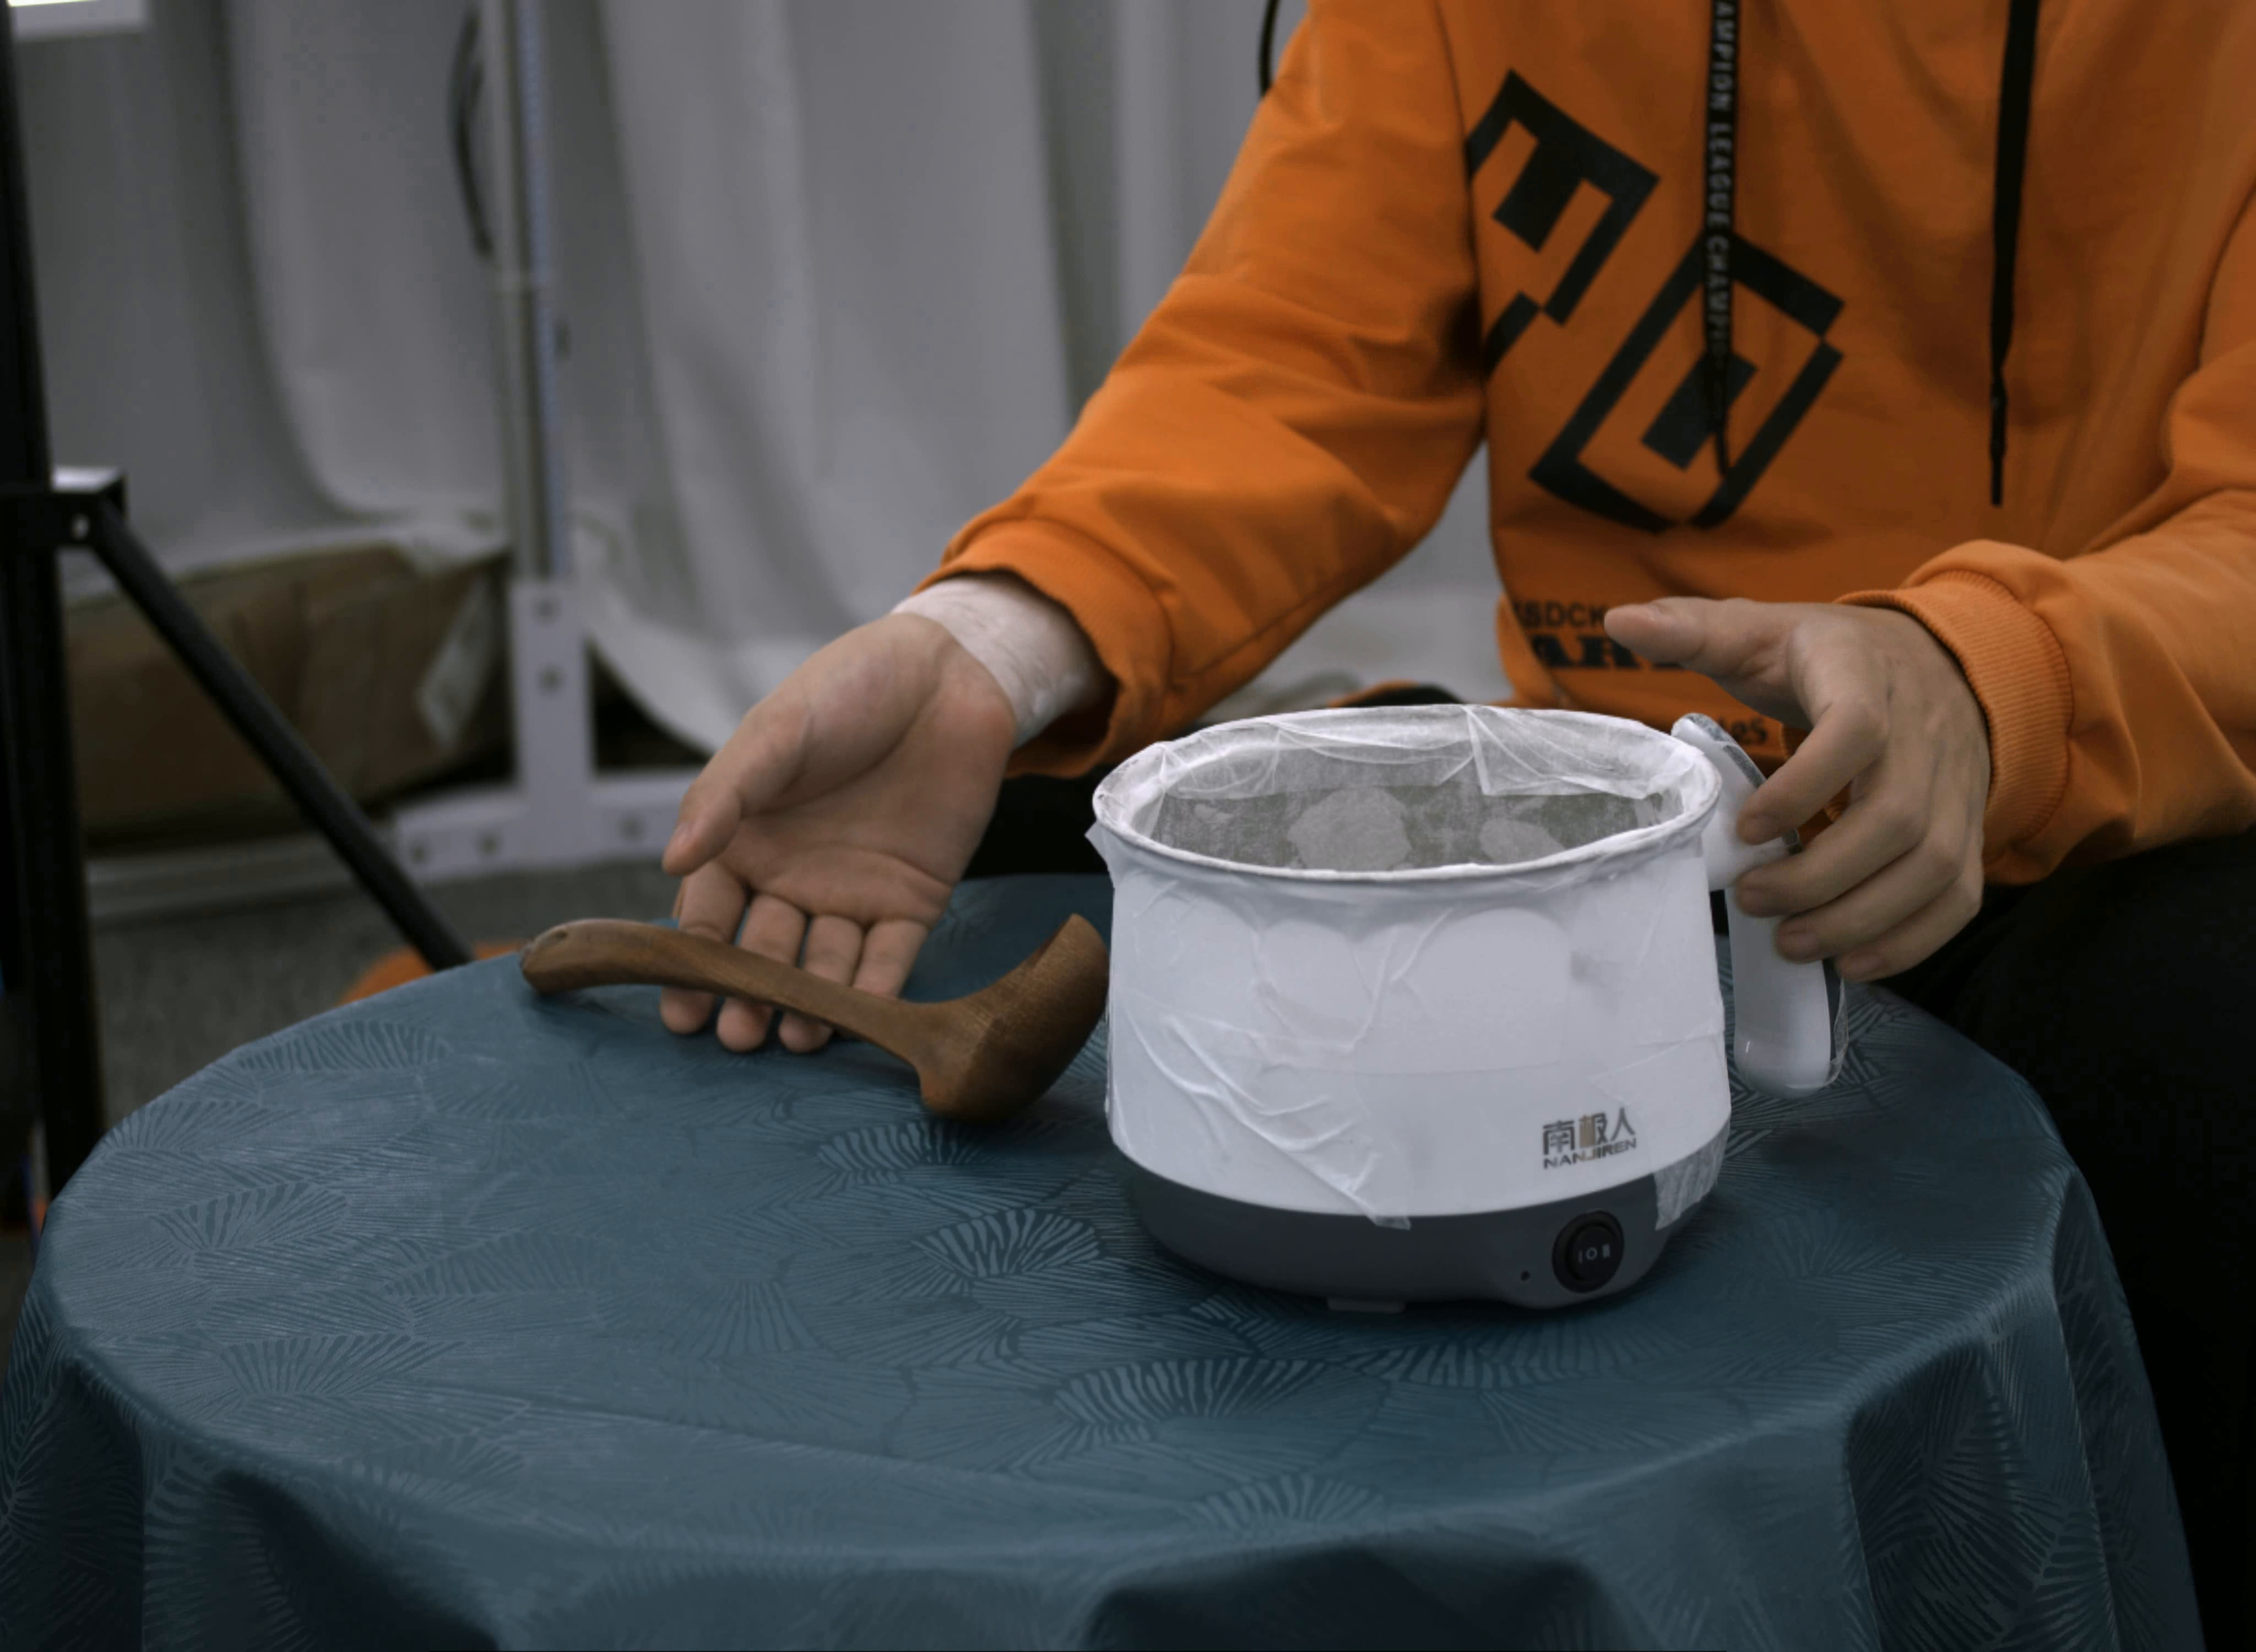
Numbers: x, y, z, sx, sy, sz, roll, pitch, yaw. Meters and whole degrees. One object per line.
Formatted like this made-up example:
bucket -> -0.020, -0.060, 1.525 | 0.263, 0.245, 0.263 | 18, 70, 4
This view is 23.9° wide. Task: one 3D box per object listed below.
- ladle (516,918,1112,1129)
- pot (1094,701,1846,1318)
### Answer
ladle -> -0.109, 0.046, 1.685 | 0.266, 0.064, 0.076 | 12, 47, 40
pot -> 0.104, 0.045, 1.511 | 0.228, 0.136, 0.182 | -11, 18, -28
